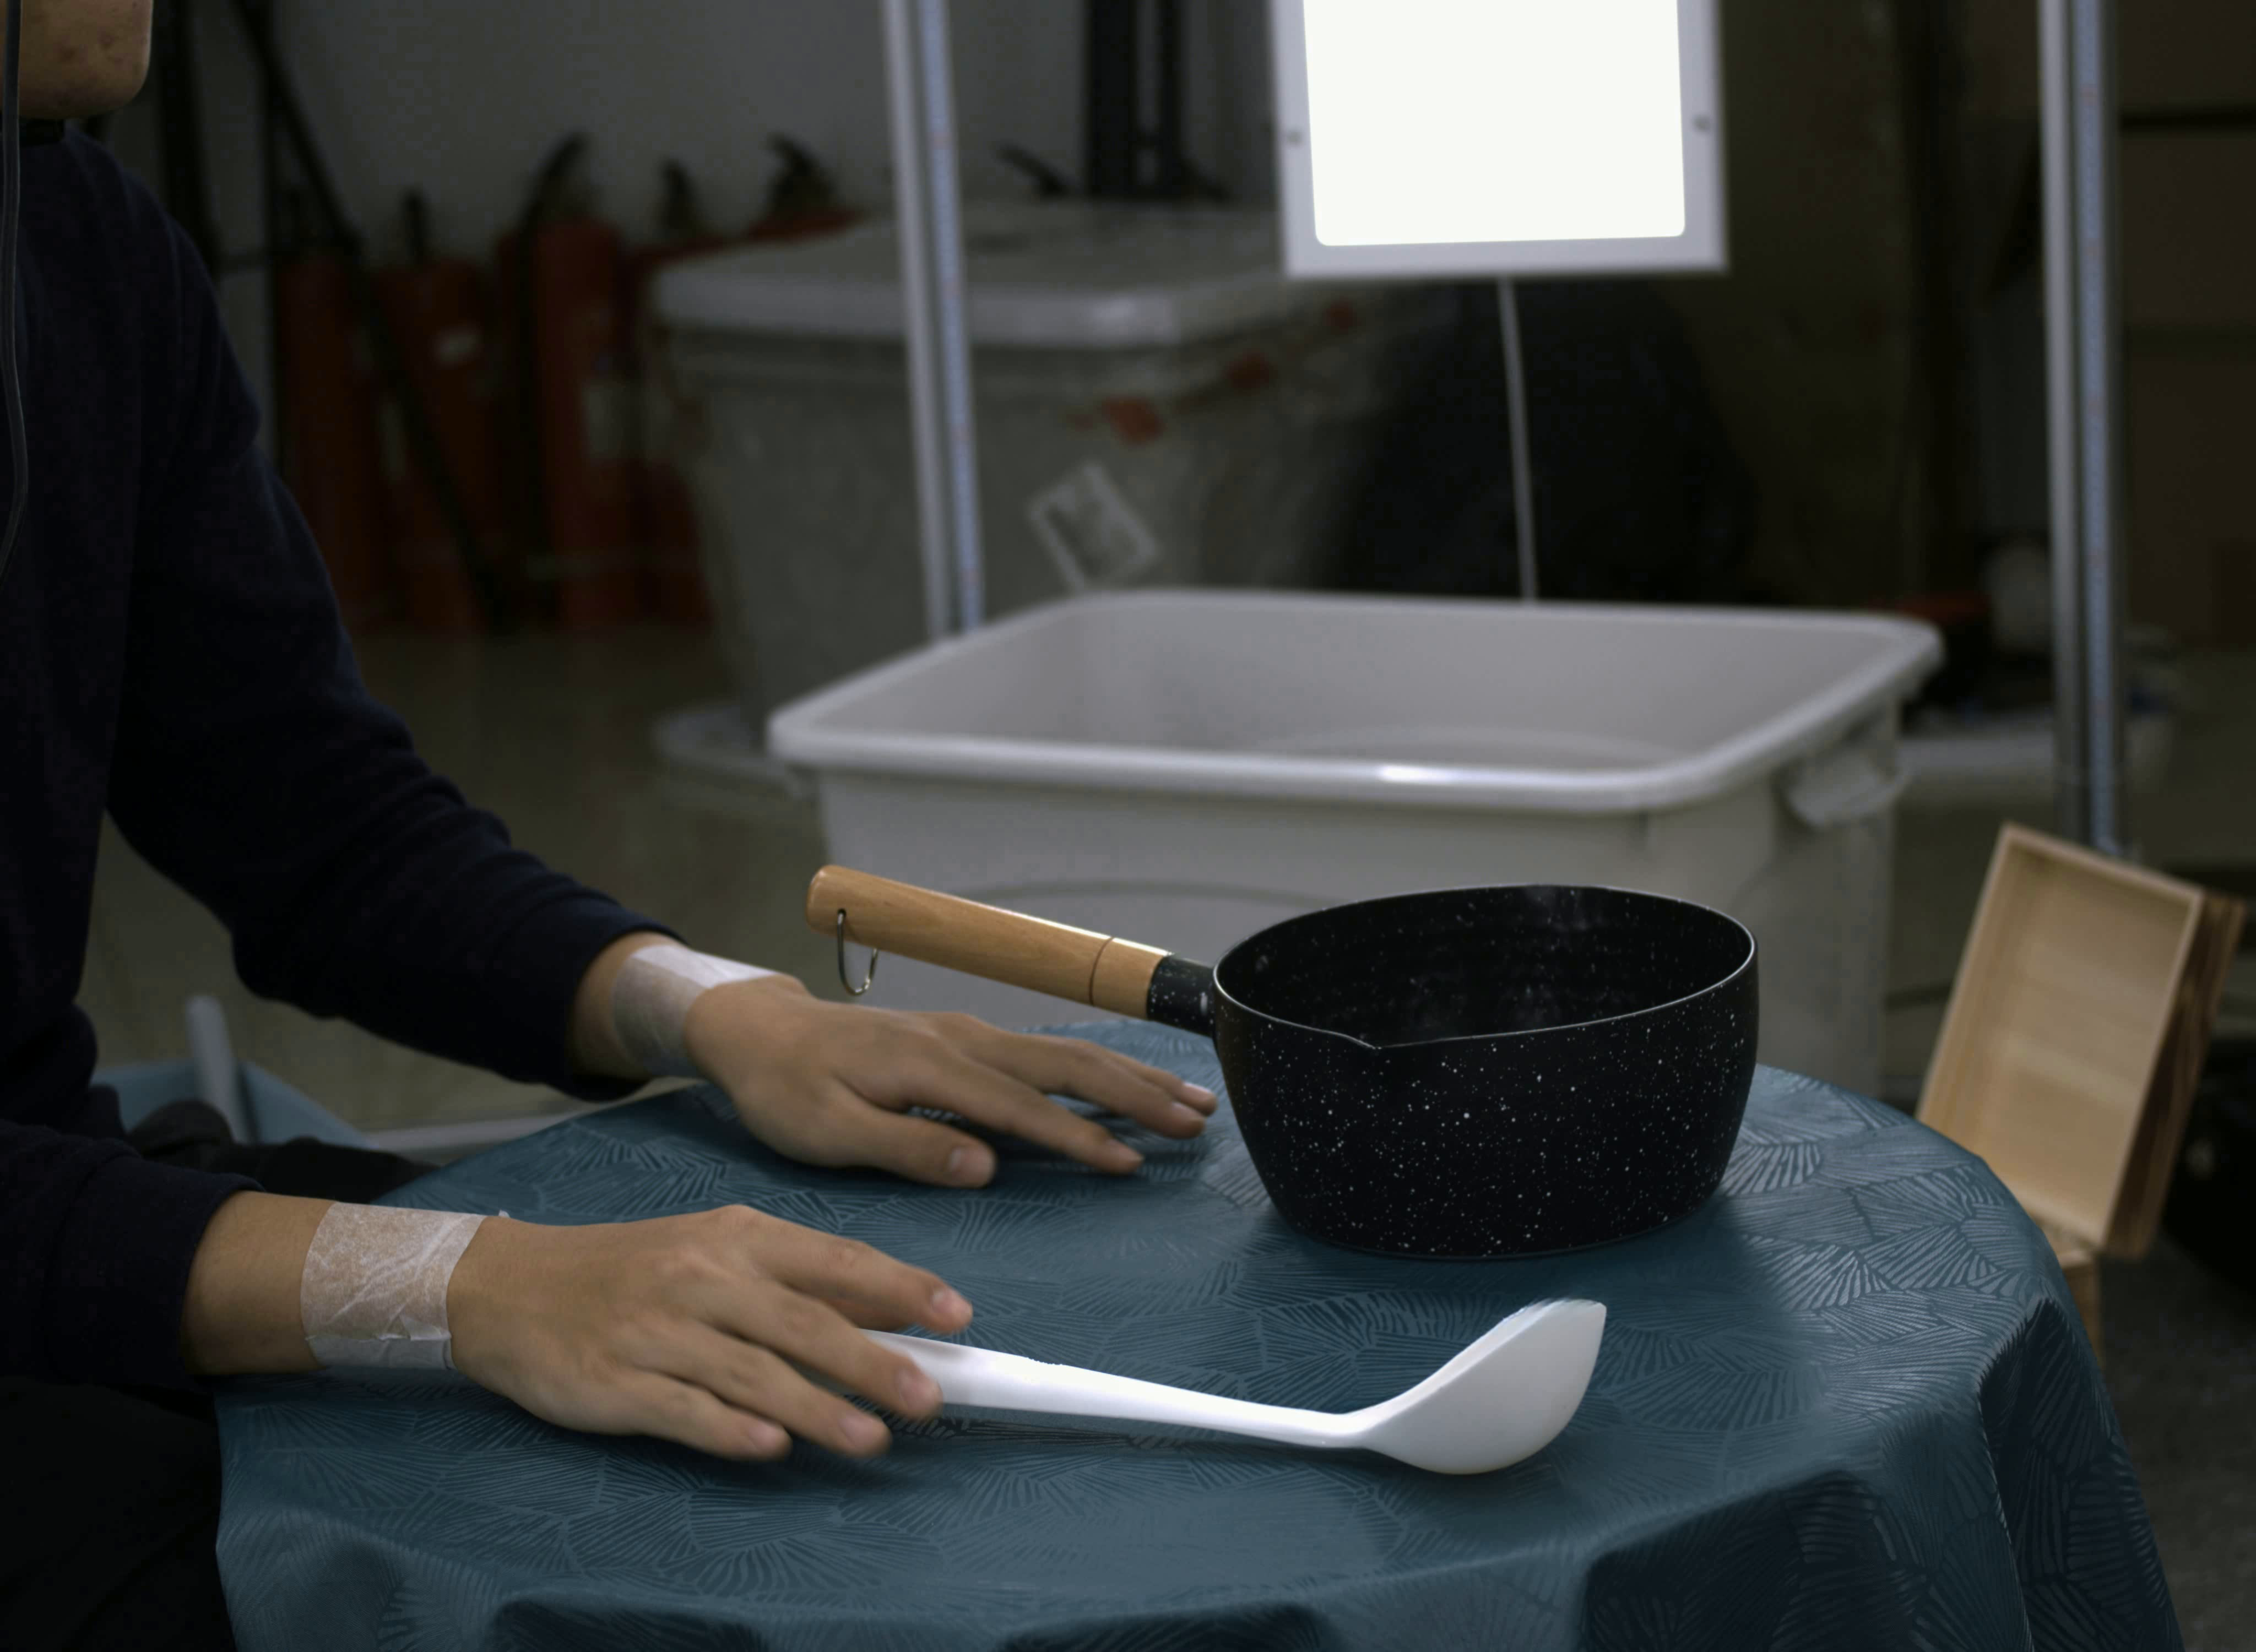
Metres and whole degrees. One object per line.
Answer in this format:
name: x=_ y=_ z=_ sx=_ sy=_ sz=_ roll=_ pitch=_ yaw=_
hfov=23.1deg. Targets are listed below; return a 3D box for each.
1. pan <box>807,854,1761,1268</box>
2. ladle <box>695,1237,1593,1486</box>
pan: x=0.048 y=0.071 z=1.880 sx=0.348 sy=0.108 sz=0.203 roll=2 pitch=17 yaw=23
ladle: x=0.001 y=0.157 z=1.642 sx=0.298 sy=0.070 sz=0.088 roll=1 pitch=22 yaw=27
